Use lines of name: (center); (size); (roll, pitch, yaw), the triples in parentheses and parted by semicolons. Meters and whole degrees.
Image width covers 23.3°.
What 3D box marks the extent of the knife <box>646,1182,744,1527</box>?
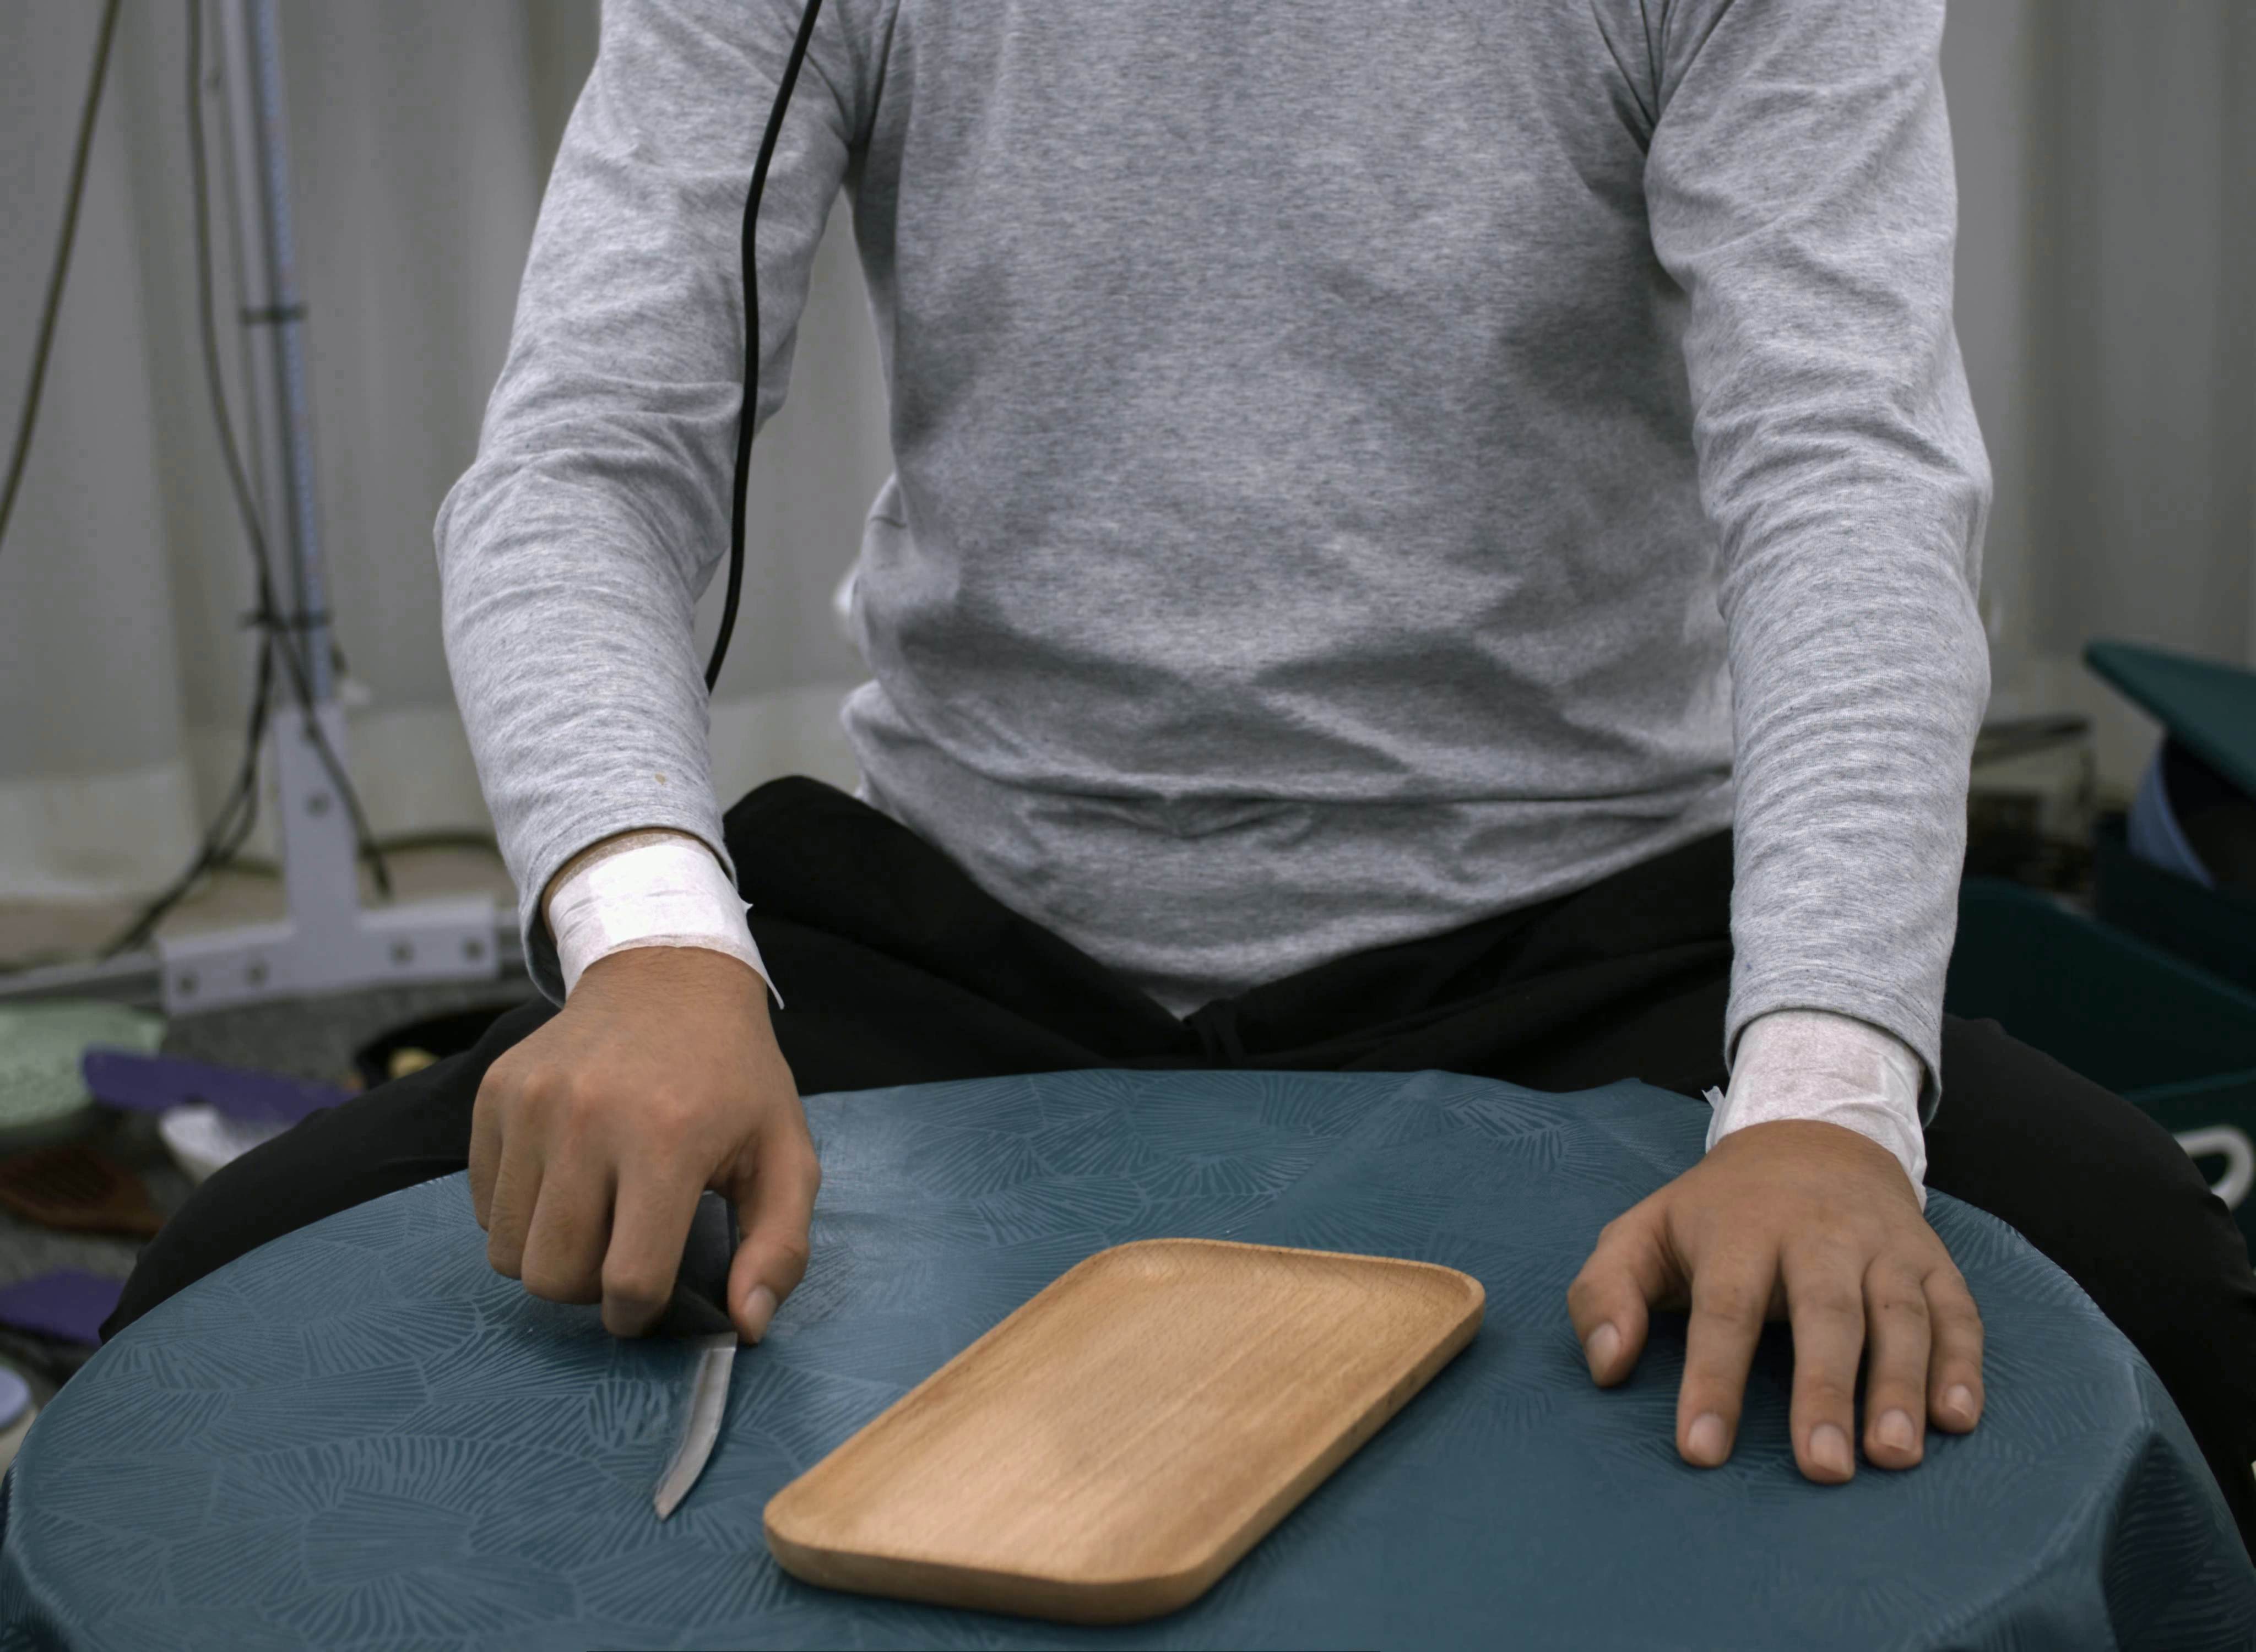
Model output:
knife: (-0.126, 0.152, 1.578); (0.024, 0.016, 0.240); (-3, 18, -1)

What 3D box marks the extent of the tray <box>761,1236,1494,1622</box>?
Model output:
tray: (0.005, 0.163, 1.504); (0.131, 0.023, 0.251); (7, 17, 24)
